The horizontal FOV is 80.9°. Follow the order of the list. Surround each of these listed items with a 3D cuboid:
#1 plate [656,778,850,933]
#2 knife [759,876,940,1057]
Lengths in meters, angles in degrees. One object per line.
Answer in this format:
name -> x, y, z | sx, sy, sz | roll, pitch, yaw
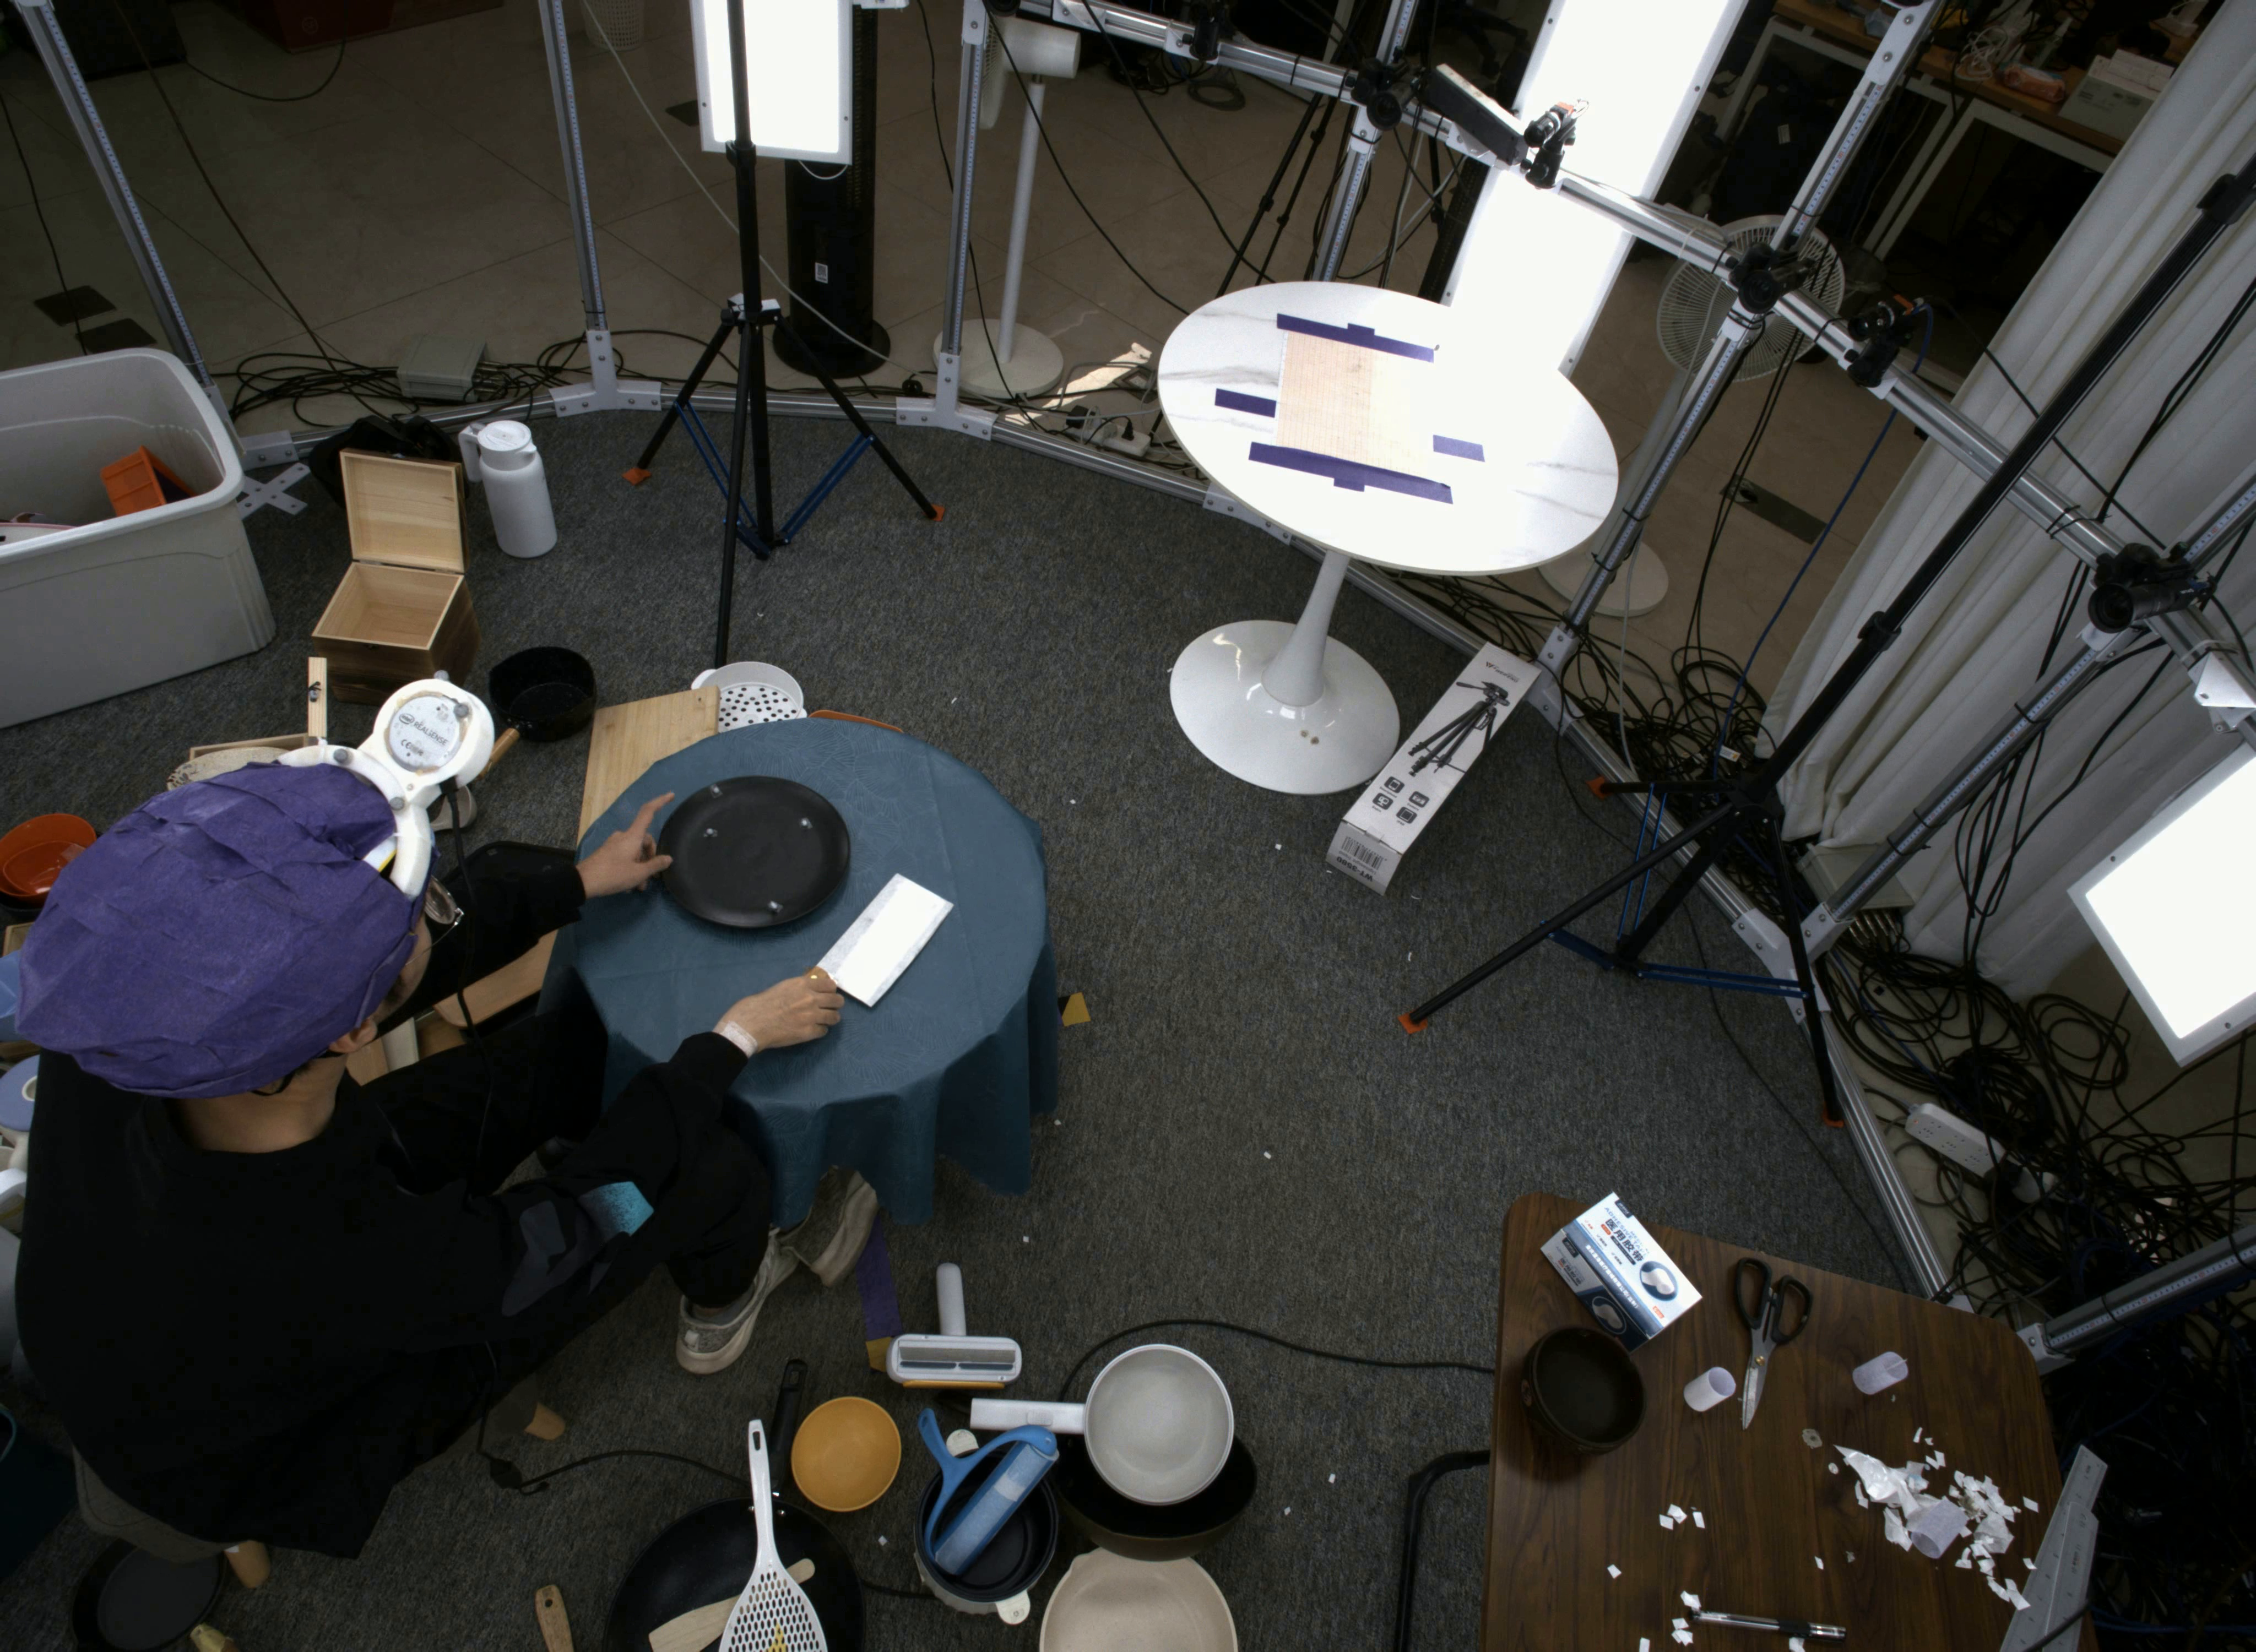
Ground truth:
plate -> -0.479, 0.036, 1.656 | 0.244, 0.024, 0.240 | 8, 52, -9
knife -> -0.332, 0.174, 1.598 | 0.091, 0.021, 0.304 | 29, 49, 6
